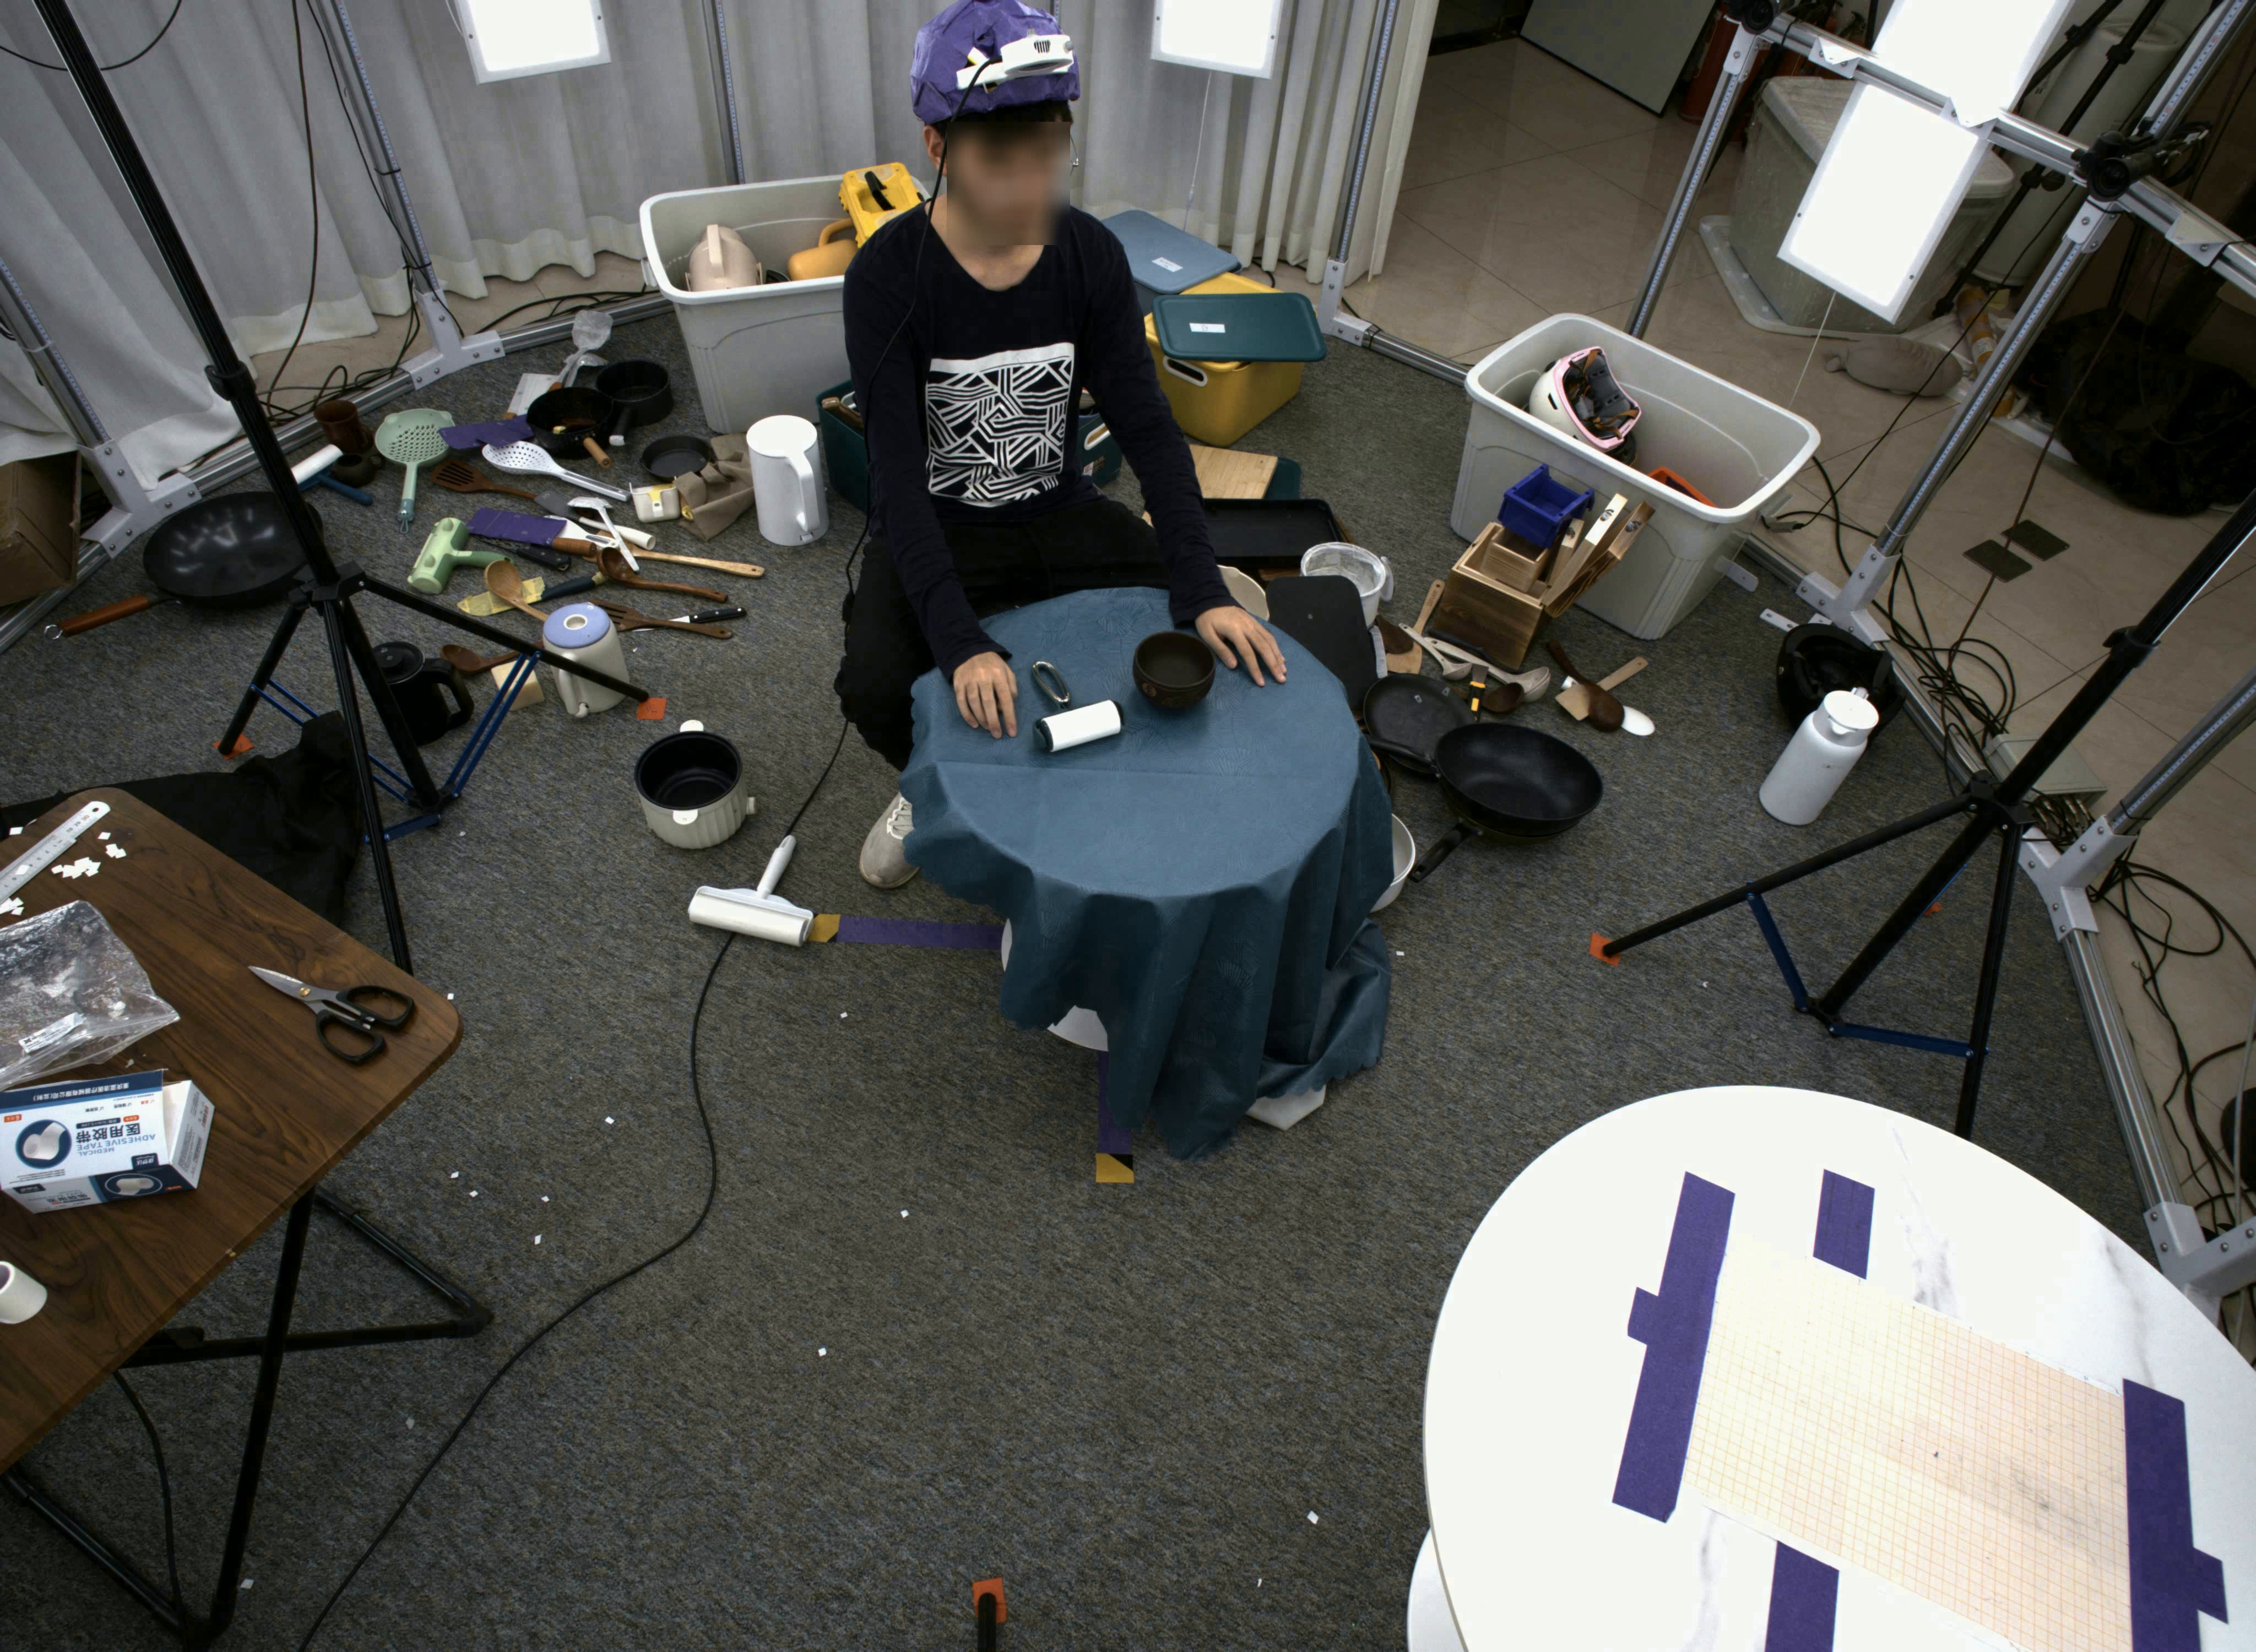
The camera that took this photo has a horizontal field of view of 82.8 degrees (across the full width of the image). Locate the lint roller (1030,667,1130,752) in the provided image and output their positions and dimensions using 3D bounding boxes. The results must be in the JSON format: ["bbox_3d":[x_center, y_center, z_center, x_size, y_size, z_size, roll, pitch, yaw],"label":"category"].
[{"bbox_3d":[-0.094,-0.182,1.794,0.134,0.047,0.184,-18,49,-18],"label":"lint roller"}]

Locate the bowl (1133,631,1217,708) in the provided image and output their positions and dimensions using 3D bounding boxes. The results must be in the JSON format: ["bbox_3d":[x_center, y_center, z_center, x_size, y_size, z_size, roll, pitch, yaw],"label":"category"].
[{"bbox_3d":[0.065,-0.213,1.810,0.118,0.068,0.121,0,48,0],"label":"bowl"}]
